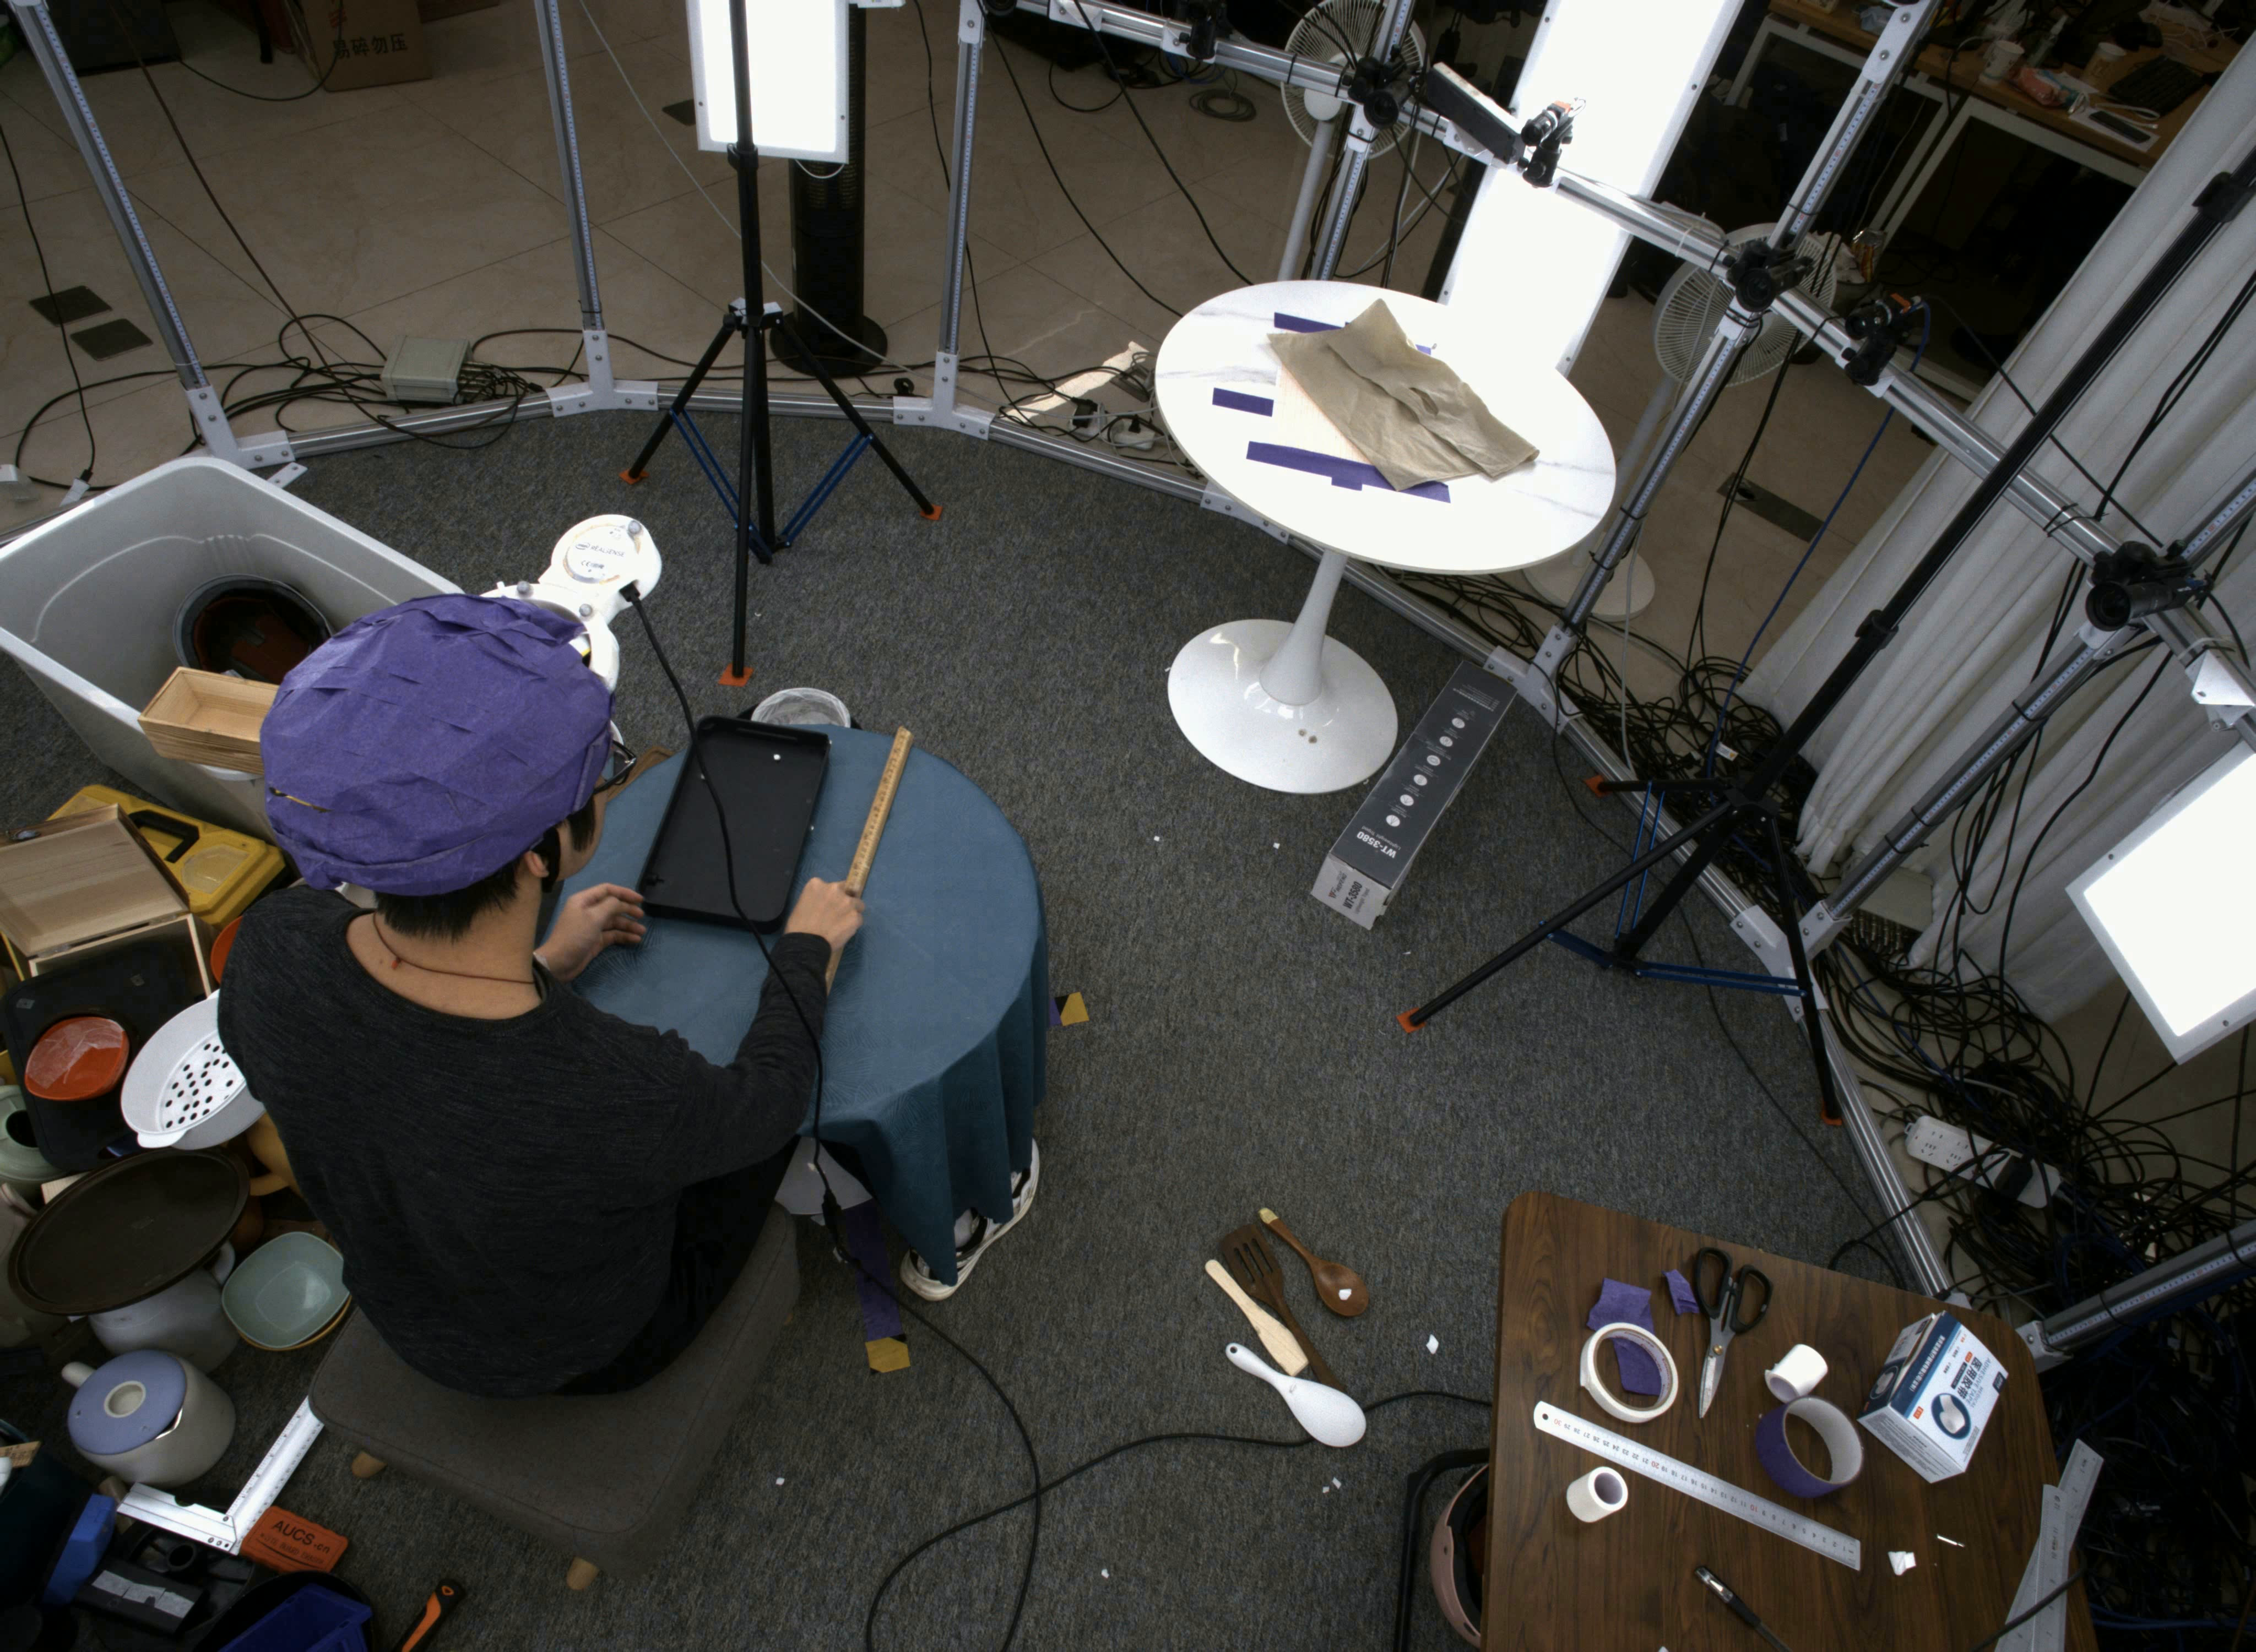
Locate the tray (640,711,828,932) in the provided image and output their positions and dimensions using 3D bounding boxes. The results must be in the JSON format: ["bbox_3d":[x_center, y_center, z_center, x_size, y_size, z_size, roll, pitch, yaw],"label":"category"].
[{"bbox_3d":[-0.507,-0.012,1.683,0.184,0.038,0.312,9,53,-8],"label":"tray"}]

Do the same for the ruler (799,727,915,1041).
[{"bbox_3d":[-0.346,0.056,1.684,0.028,0.006,0.493,46,39,-36],"label":"ruler"}]
